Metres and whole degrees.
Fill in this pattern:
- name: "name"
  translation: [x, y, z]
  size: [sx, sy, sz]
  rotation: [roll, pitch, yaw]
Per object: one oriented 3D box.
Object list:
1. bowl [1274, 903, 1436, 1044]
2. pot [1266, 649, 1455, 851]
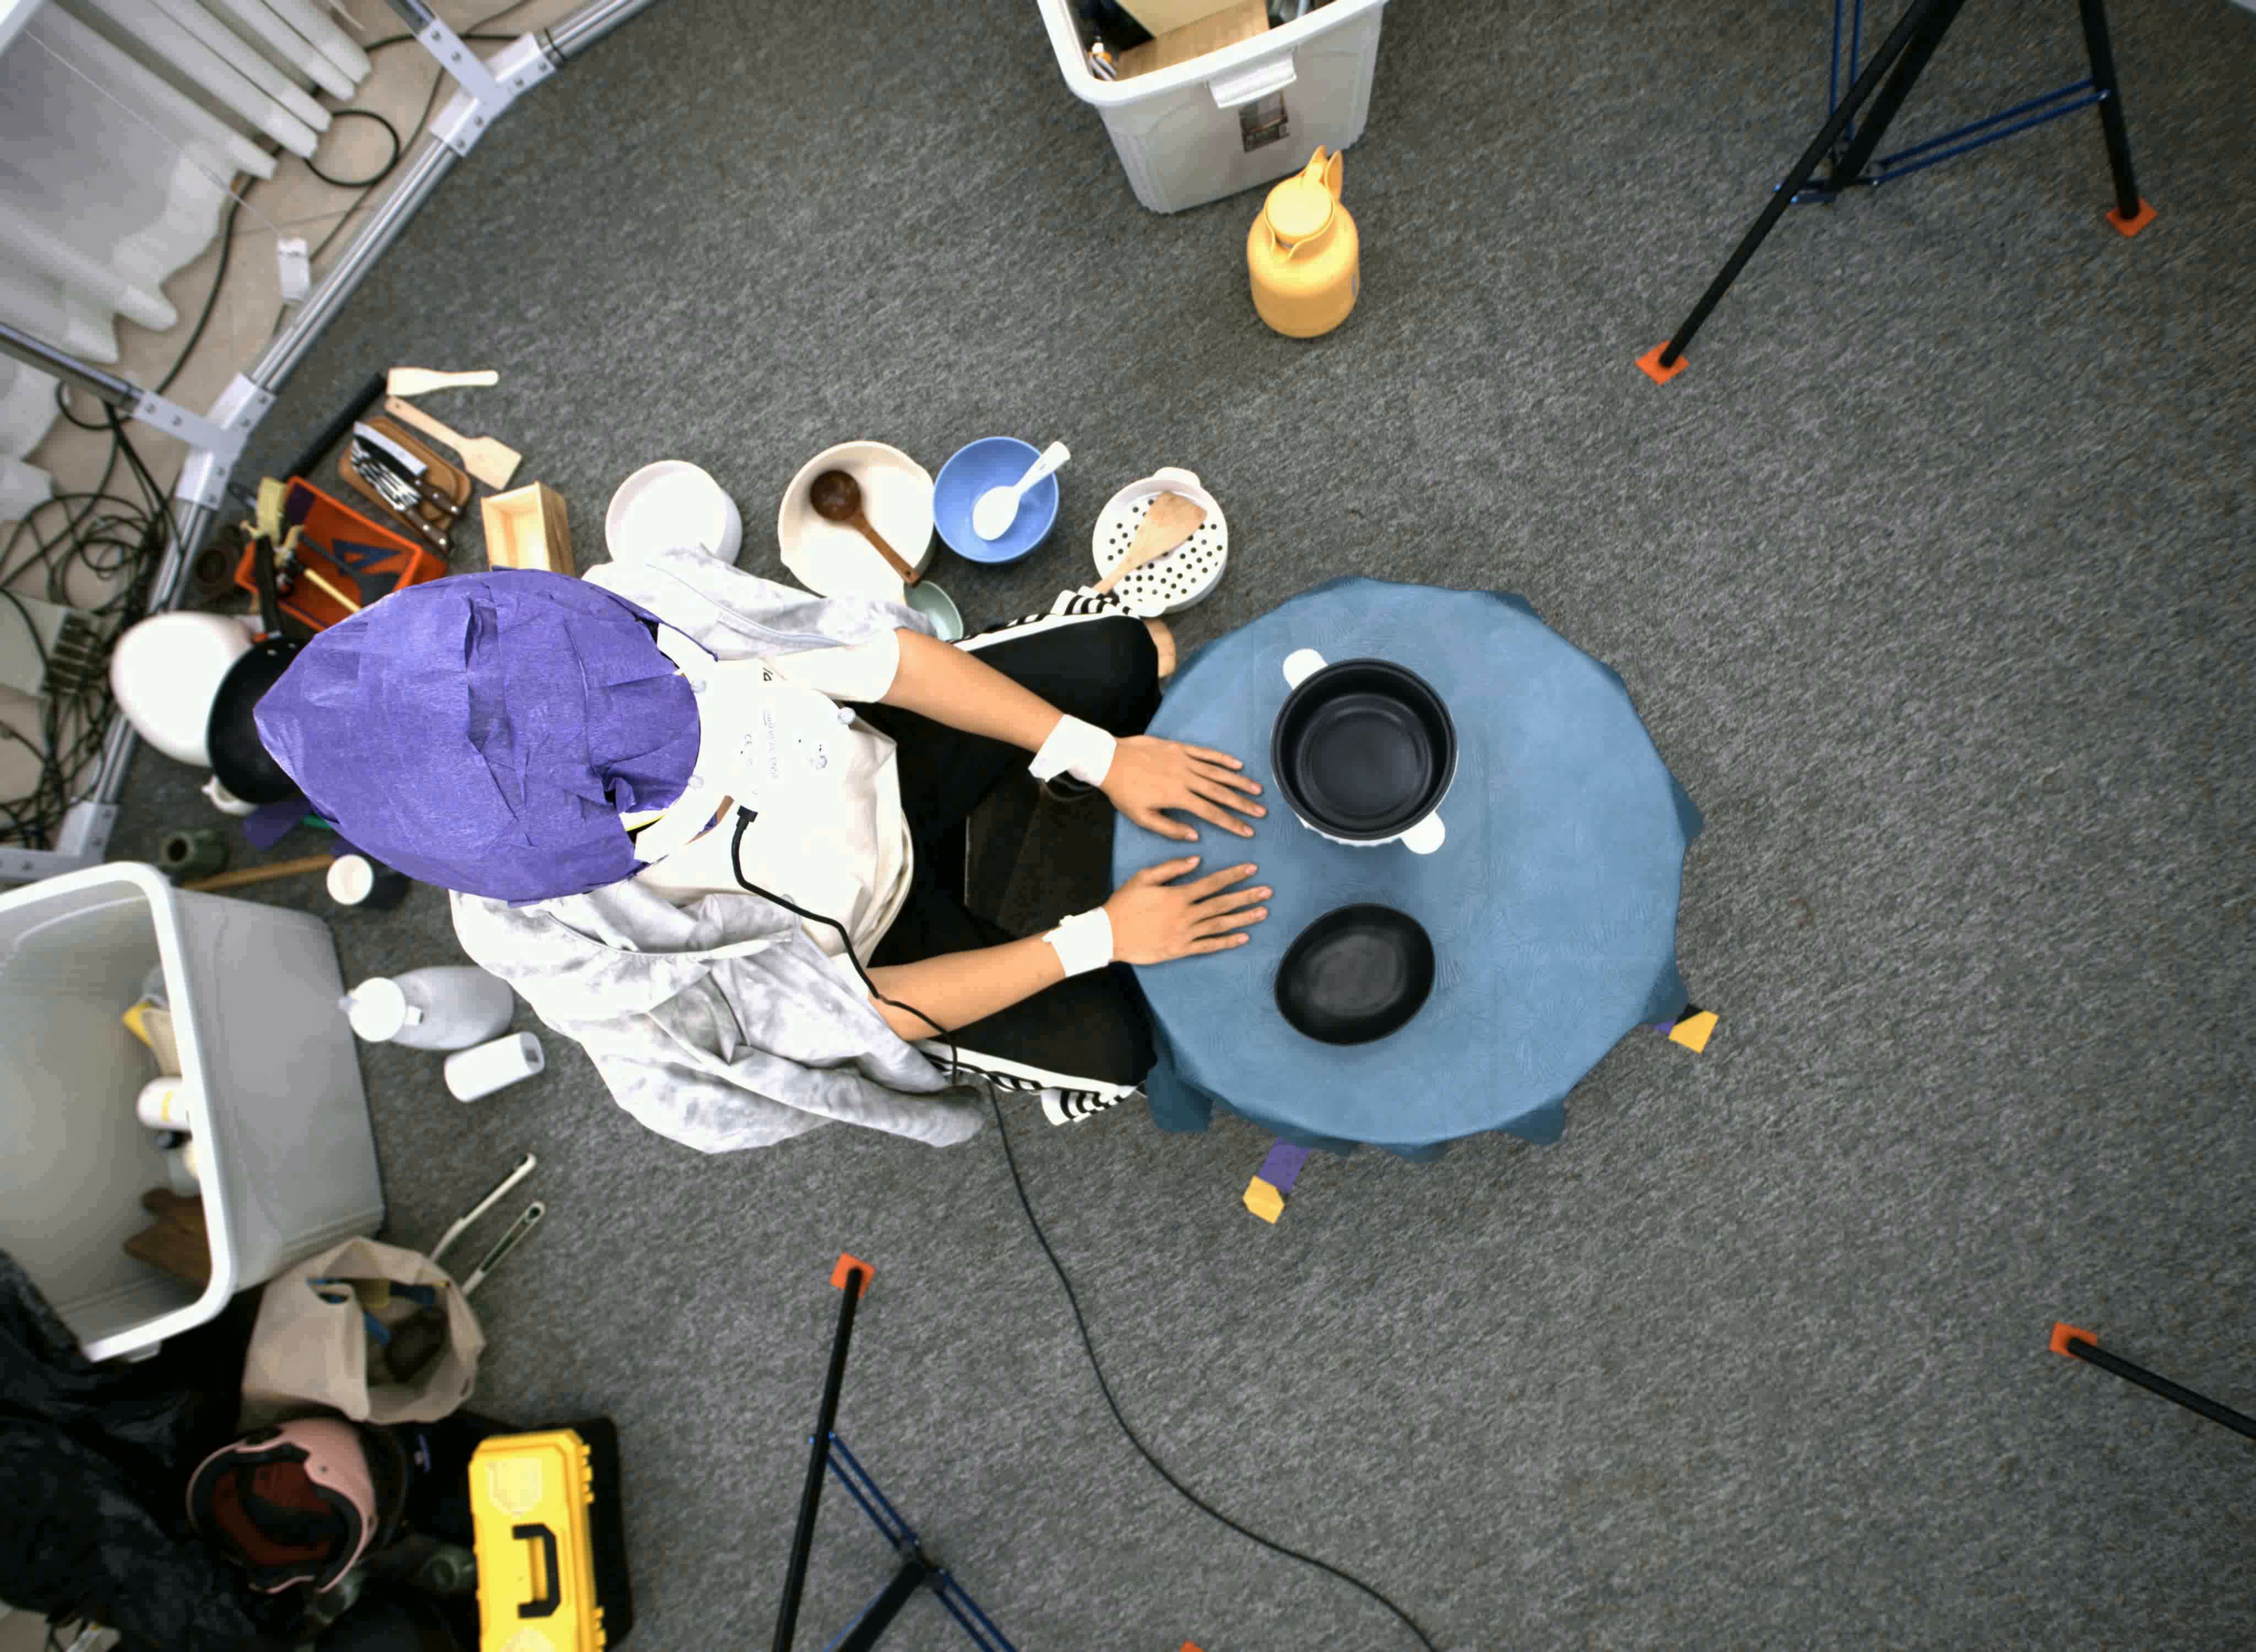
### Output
- name: "bowl"
  translation: [0.235, 0.153, 1.427]
  size: [0.171, 0.067, 0.136]
  rotation: [-29, 81, 9]
- name: "pot"
  translation: [0.242, -0.075, 1.401]
  size: [0.192, 0.142, 0.239]
  rotation: [-37, 81, 9]
